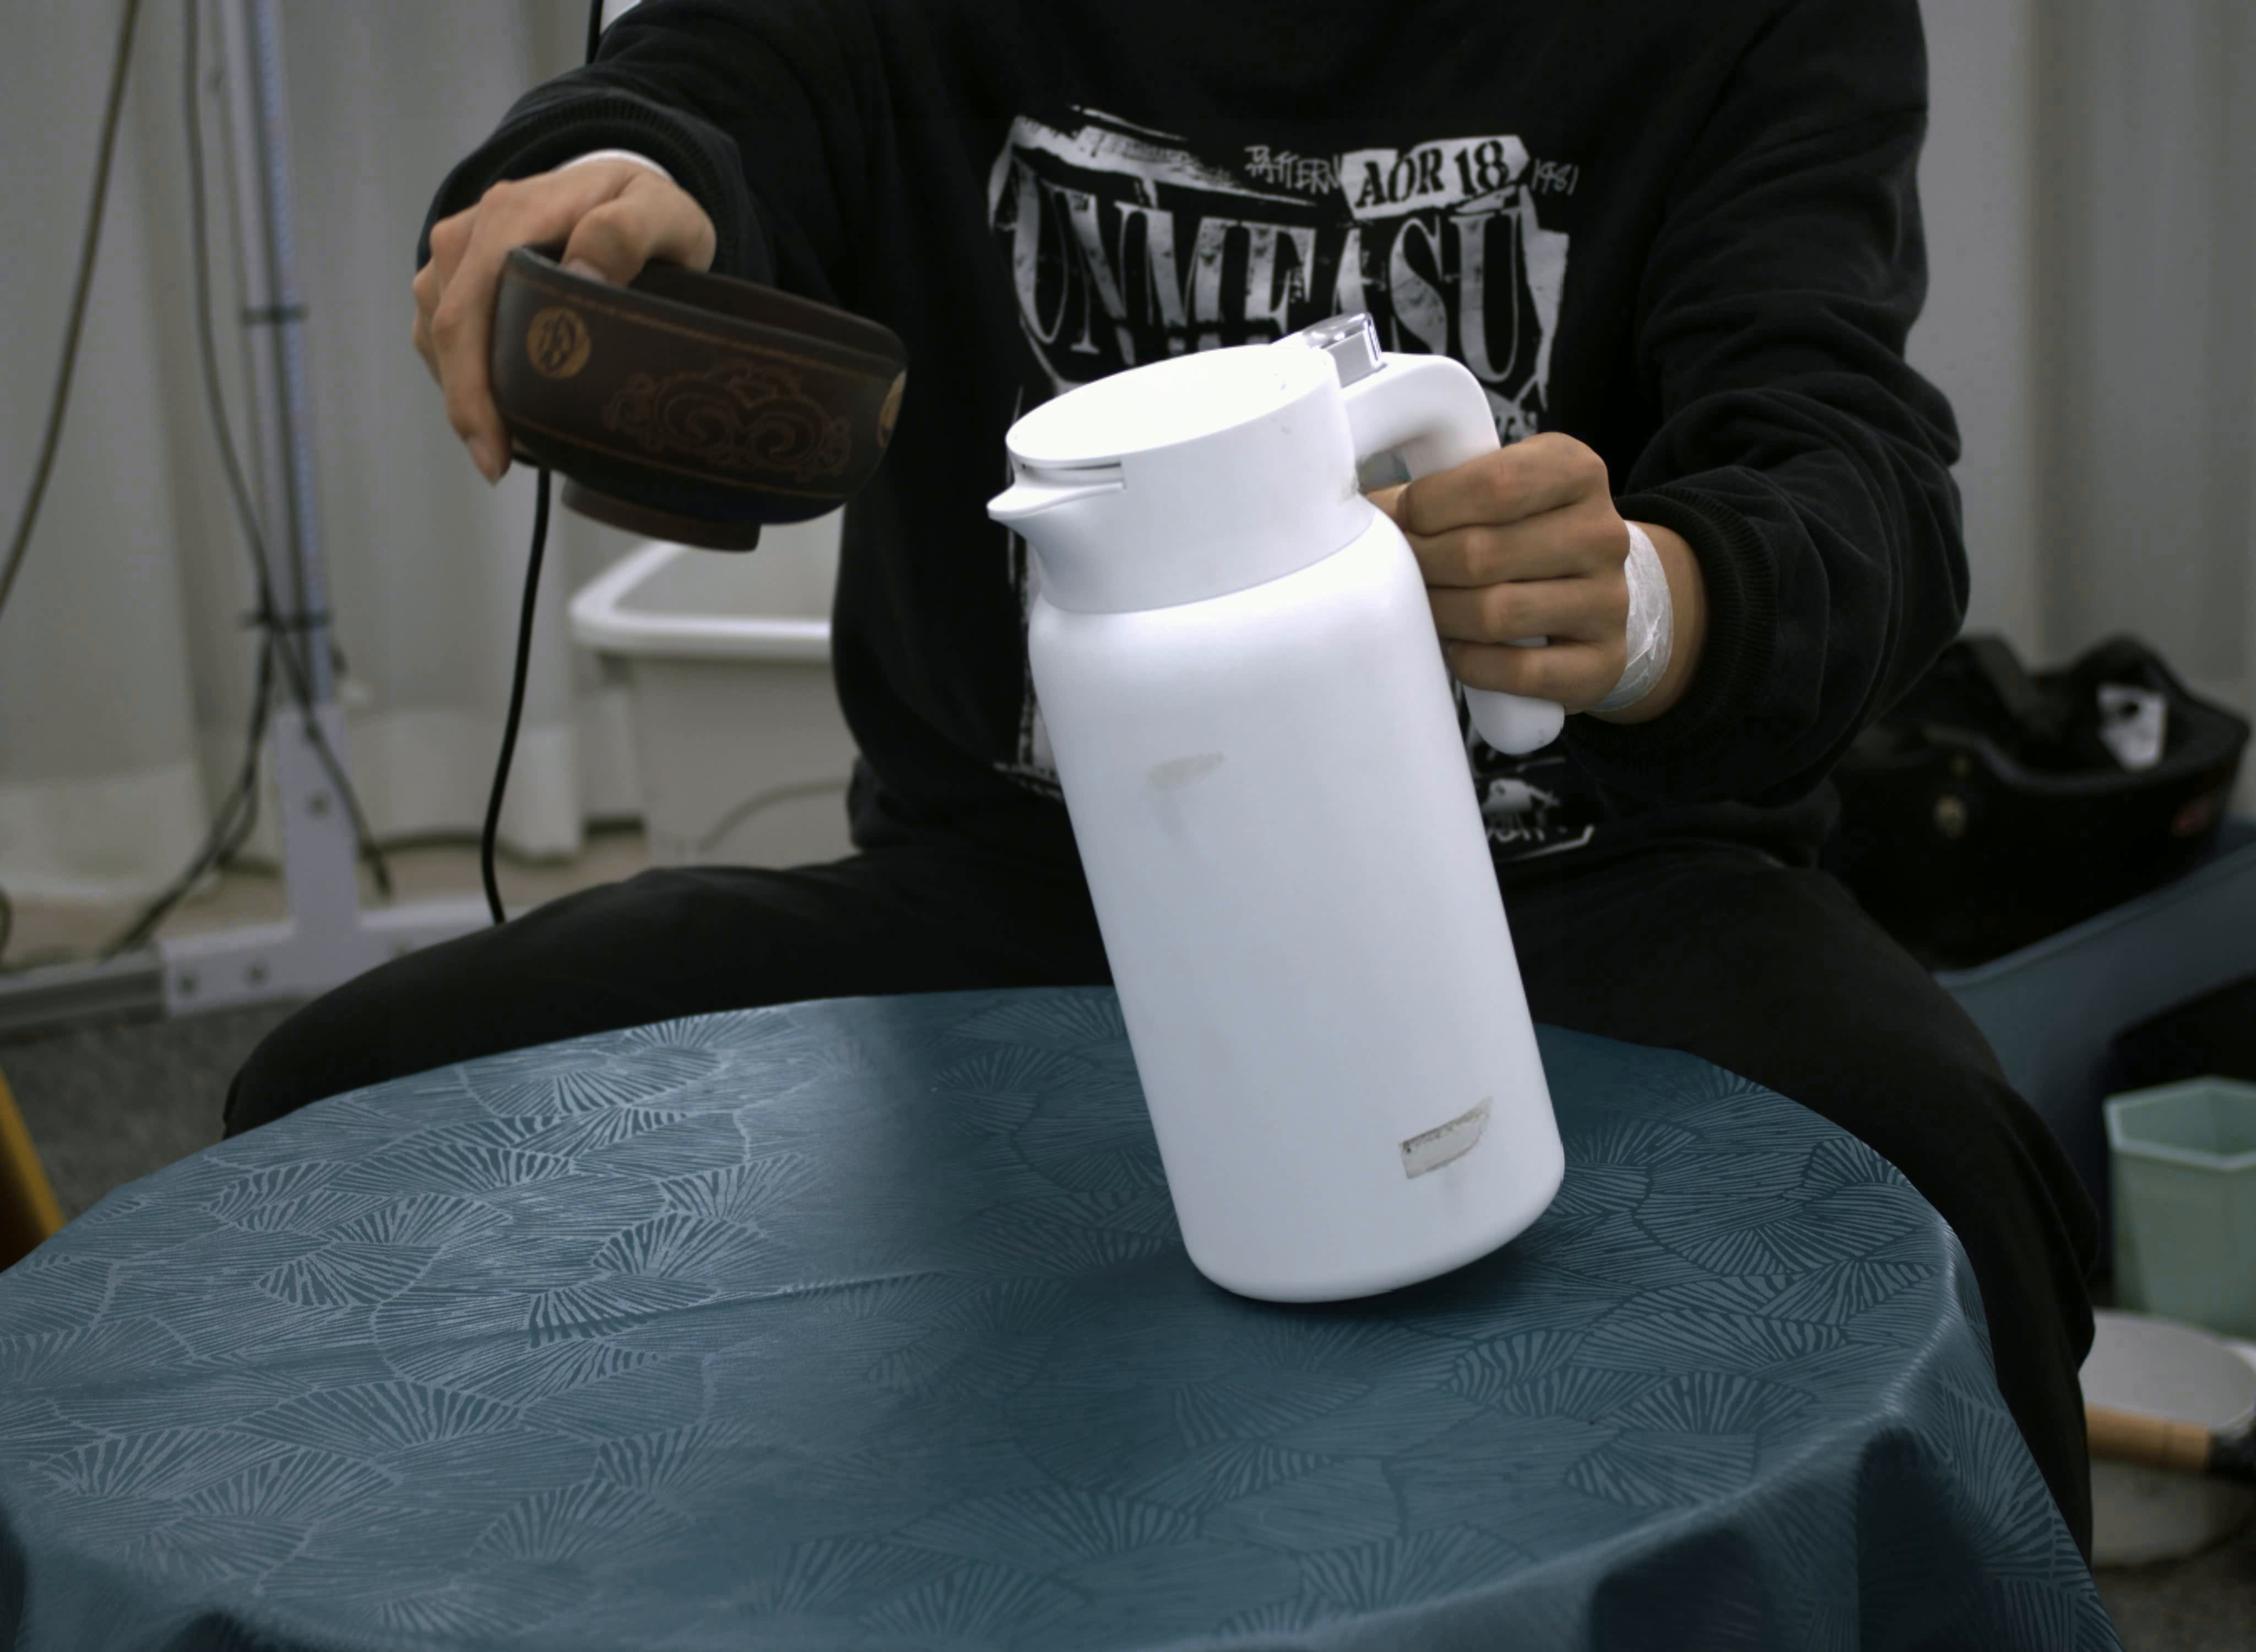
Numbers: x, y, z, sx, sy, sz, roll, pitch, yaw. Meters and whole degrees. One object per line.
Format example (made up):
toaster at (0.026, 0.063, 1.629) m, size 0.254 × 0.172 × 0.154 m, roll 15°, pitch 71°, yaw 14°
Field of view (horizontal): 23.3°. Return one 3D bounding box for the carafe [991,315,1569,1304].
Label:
carafe at (0.057, -0.008, 1.611) m, size 0.173 × 0.267 × 0.124 m, roll -26°, pitch 18°, yaw -33°

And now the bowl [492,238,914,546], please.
bowl at (-0.124, -0.120, 1.555) m, size 0.117 × 0.070 × 0.118 m, roll 14°, pitch 9°, yaw -2°
